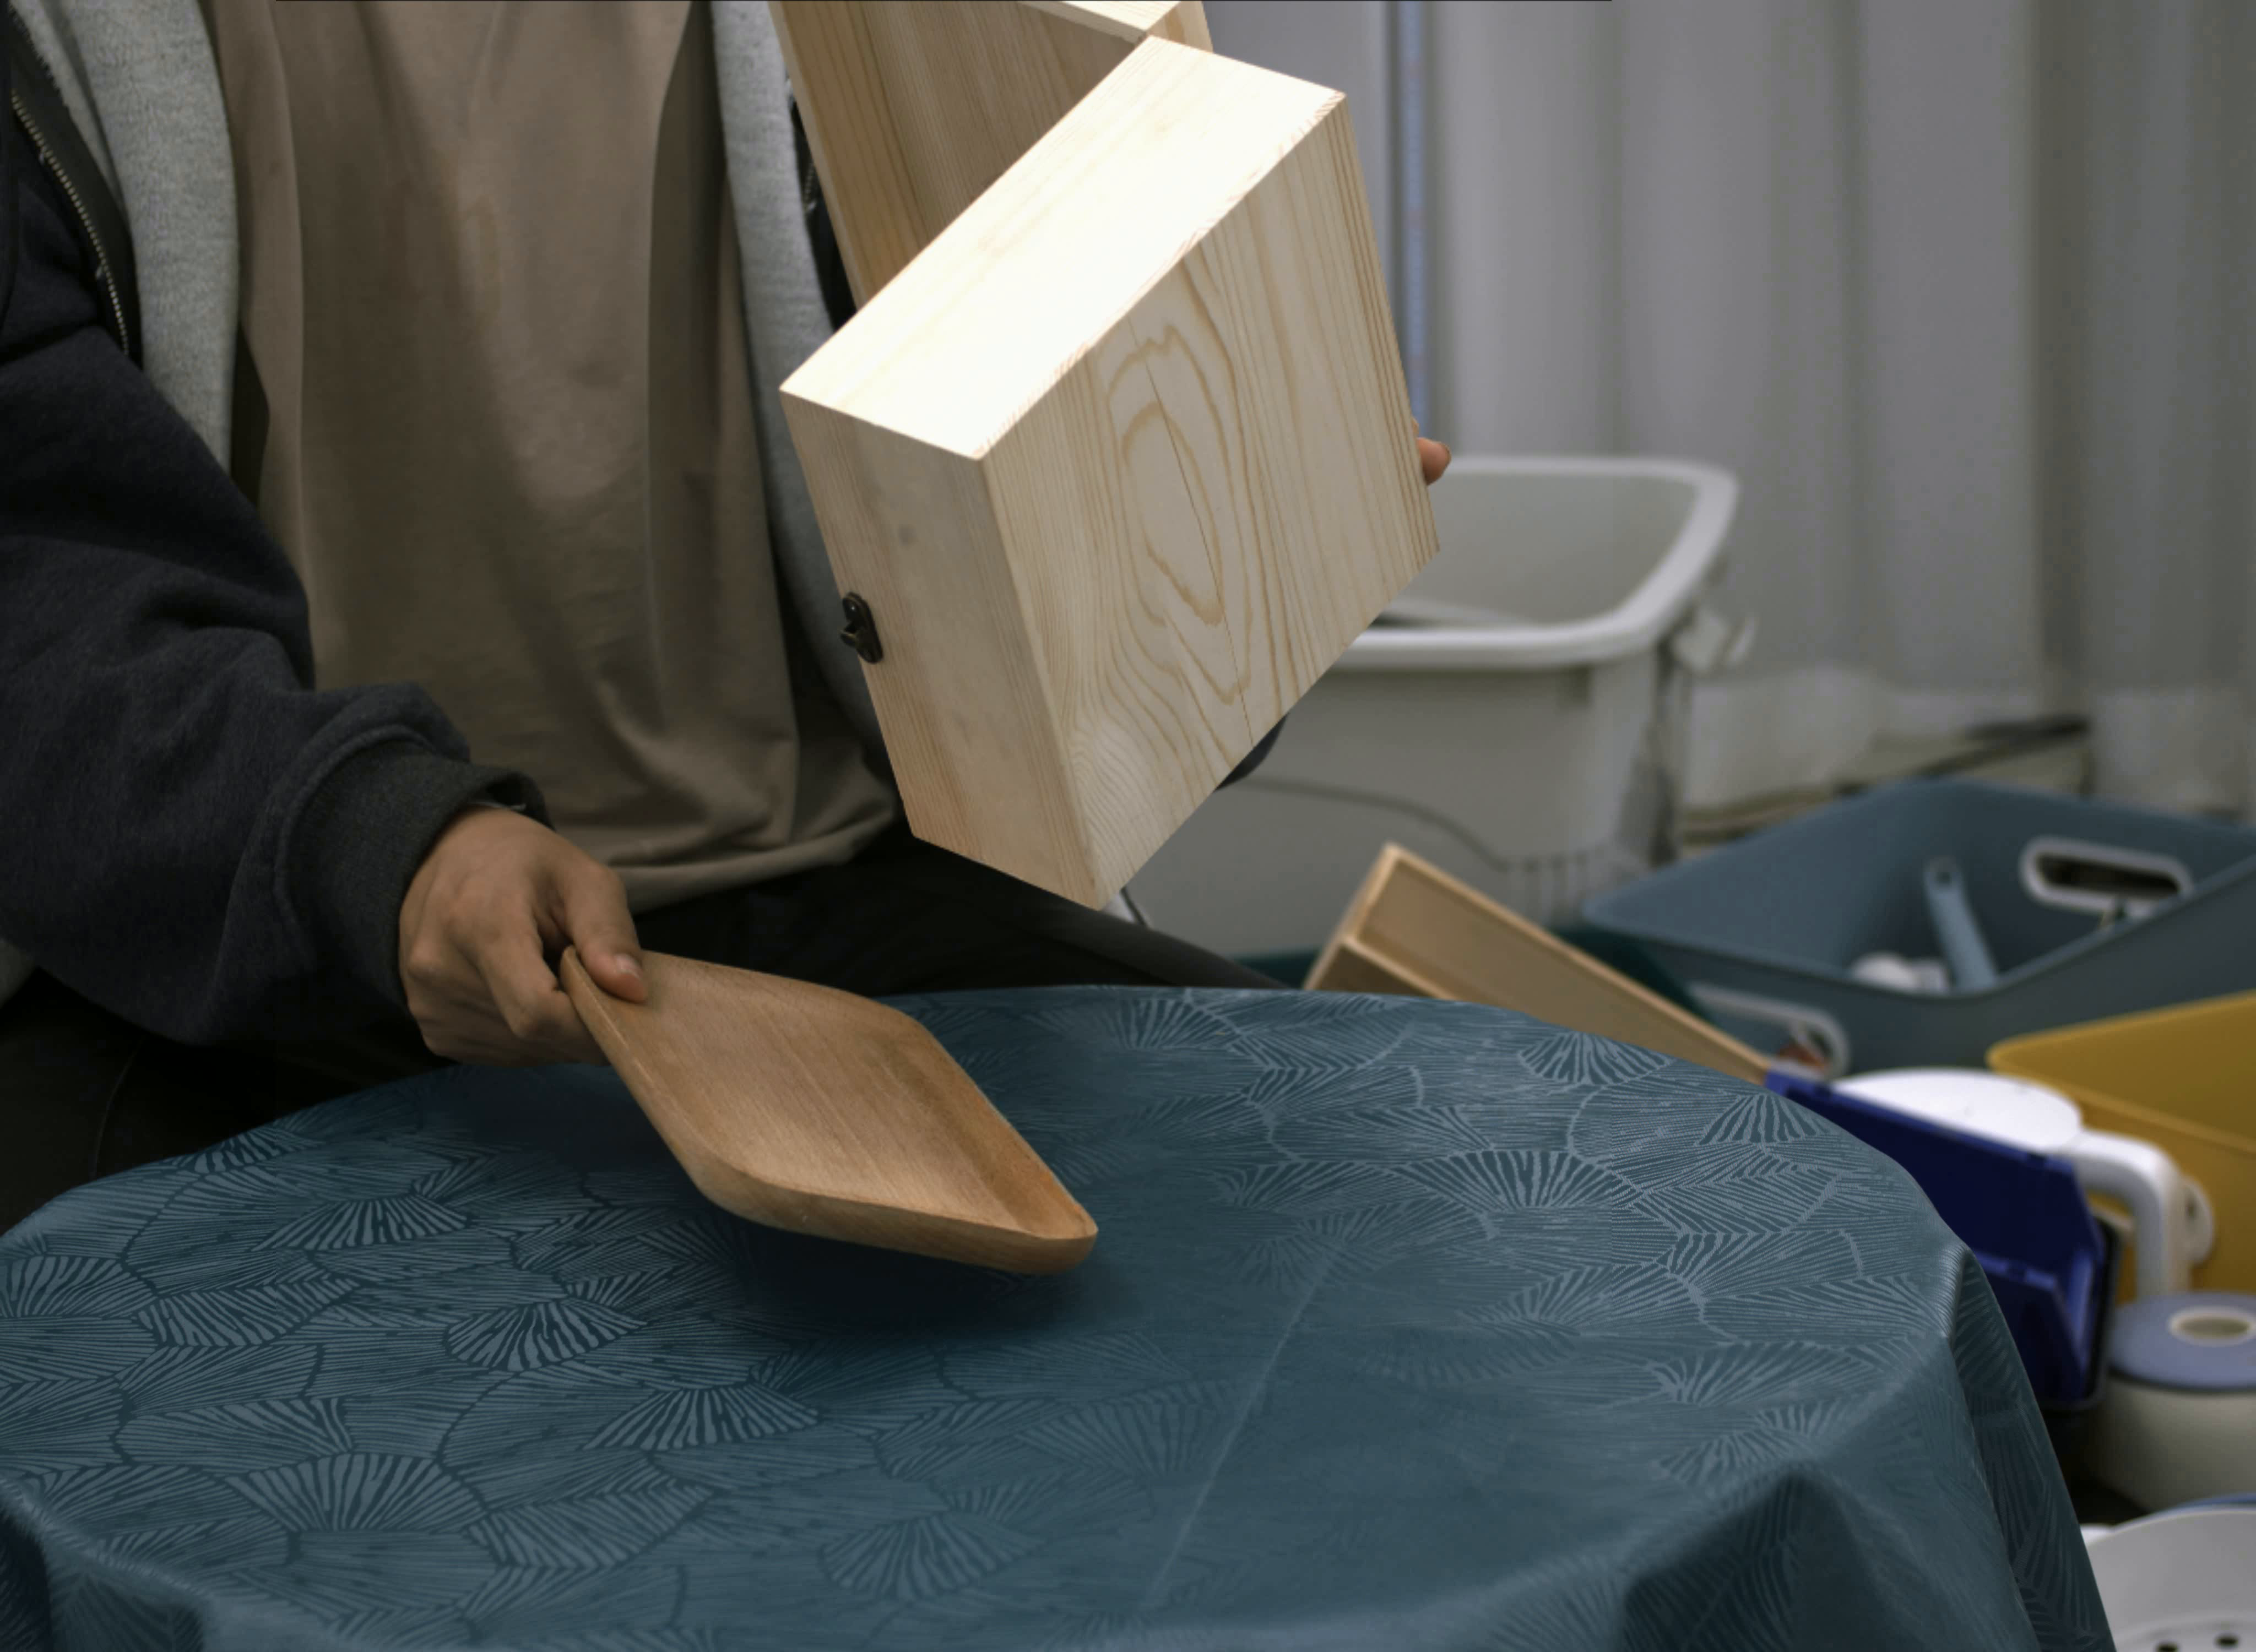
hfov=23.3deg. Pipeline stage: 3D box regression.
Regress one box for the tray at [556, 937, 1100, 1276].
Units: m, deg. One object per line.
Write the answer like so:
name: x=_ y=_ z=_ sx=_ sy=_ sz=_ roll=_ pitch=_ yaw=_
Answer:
tray: x=-0.098 y=0.085 z=1.693 sx=0.129 sy=0.023 sz=0.253 roll=15 pitch=10 yaw=-20

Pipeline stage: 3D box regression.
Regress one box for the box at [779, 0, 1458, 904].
box: x=-0.044 y=-0.153 z=1.709 sx=0.255 sy=0.179 sz=0.266 roll=20 pitch=51 yaw=36
